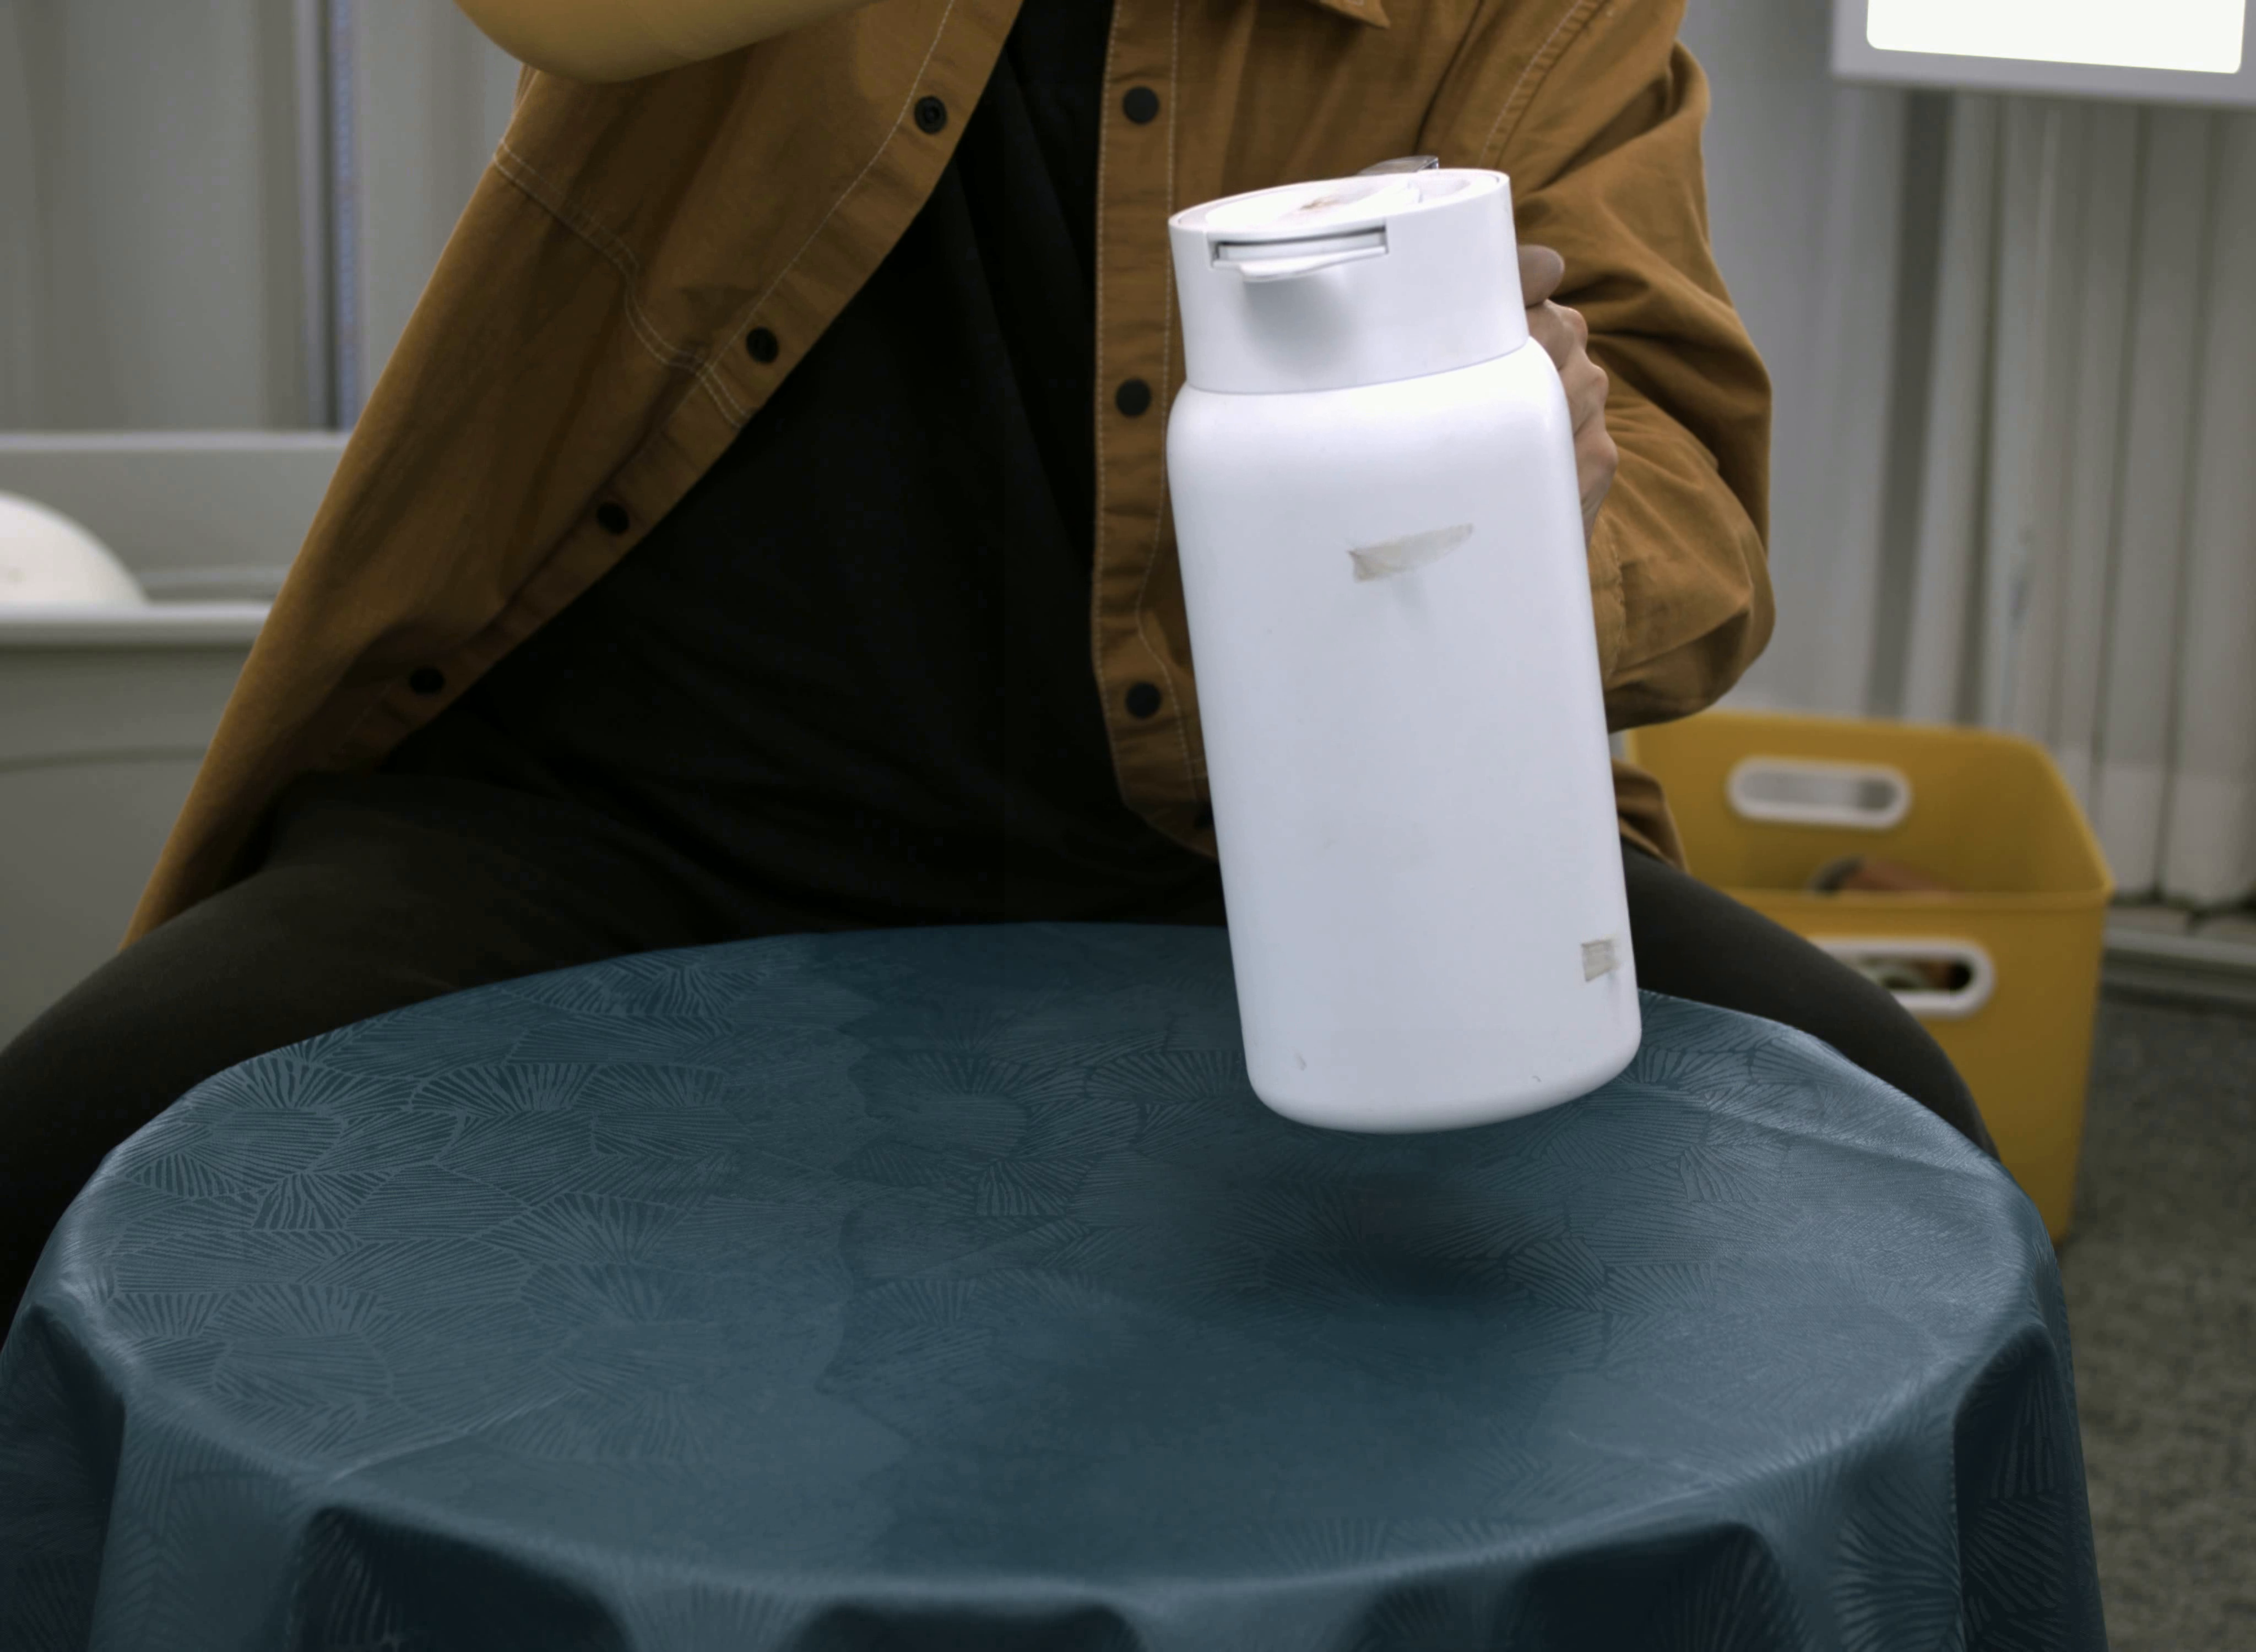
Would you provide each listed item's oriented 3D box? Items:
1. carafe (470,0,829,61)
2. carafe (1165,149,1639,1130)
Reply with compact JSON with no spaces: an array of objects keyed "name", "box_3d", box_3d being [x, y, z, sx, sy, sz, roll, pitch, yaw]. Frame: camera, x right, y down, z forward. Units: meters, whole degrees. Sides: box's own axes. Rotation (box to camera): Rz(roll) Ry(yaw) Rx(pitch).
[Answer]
[{"name":"carafe","box_3d":[-0.081,-0.337,1.468,0.259,0.204,0.163,-13,14,14]},{"name":"carafe","box_3d":[0.081,-0.058,1.536,0.123,0.271,0.173,-5,14,20]}]
